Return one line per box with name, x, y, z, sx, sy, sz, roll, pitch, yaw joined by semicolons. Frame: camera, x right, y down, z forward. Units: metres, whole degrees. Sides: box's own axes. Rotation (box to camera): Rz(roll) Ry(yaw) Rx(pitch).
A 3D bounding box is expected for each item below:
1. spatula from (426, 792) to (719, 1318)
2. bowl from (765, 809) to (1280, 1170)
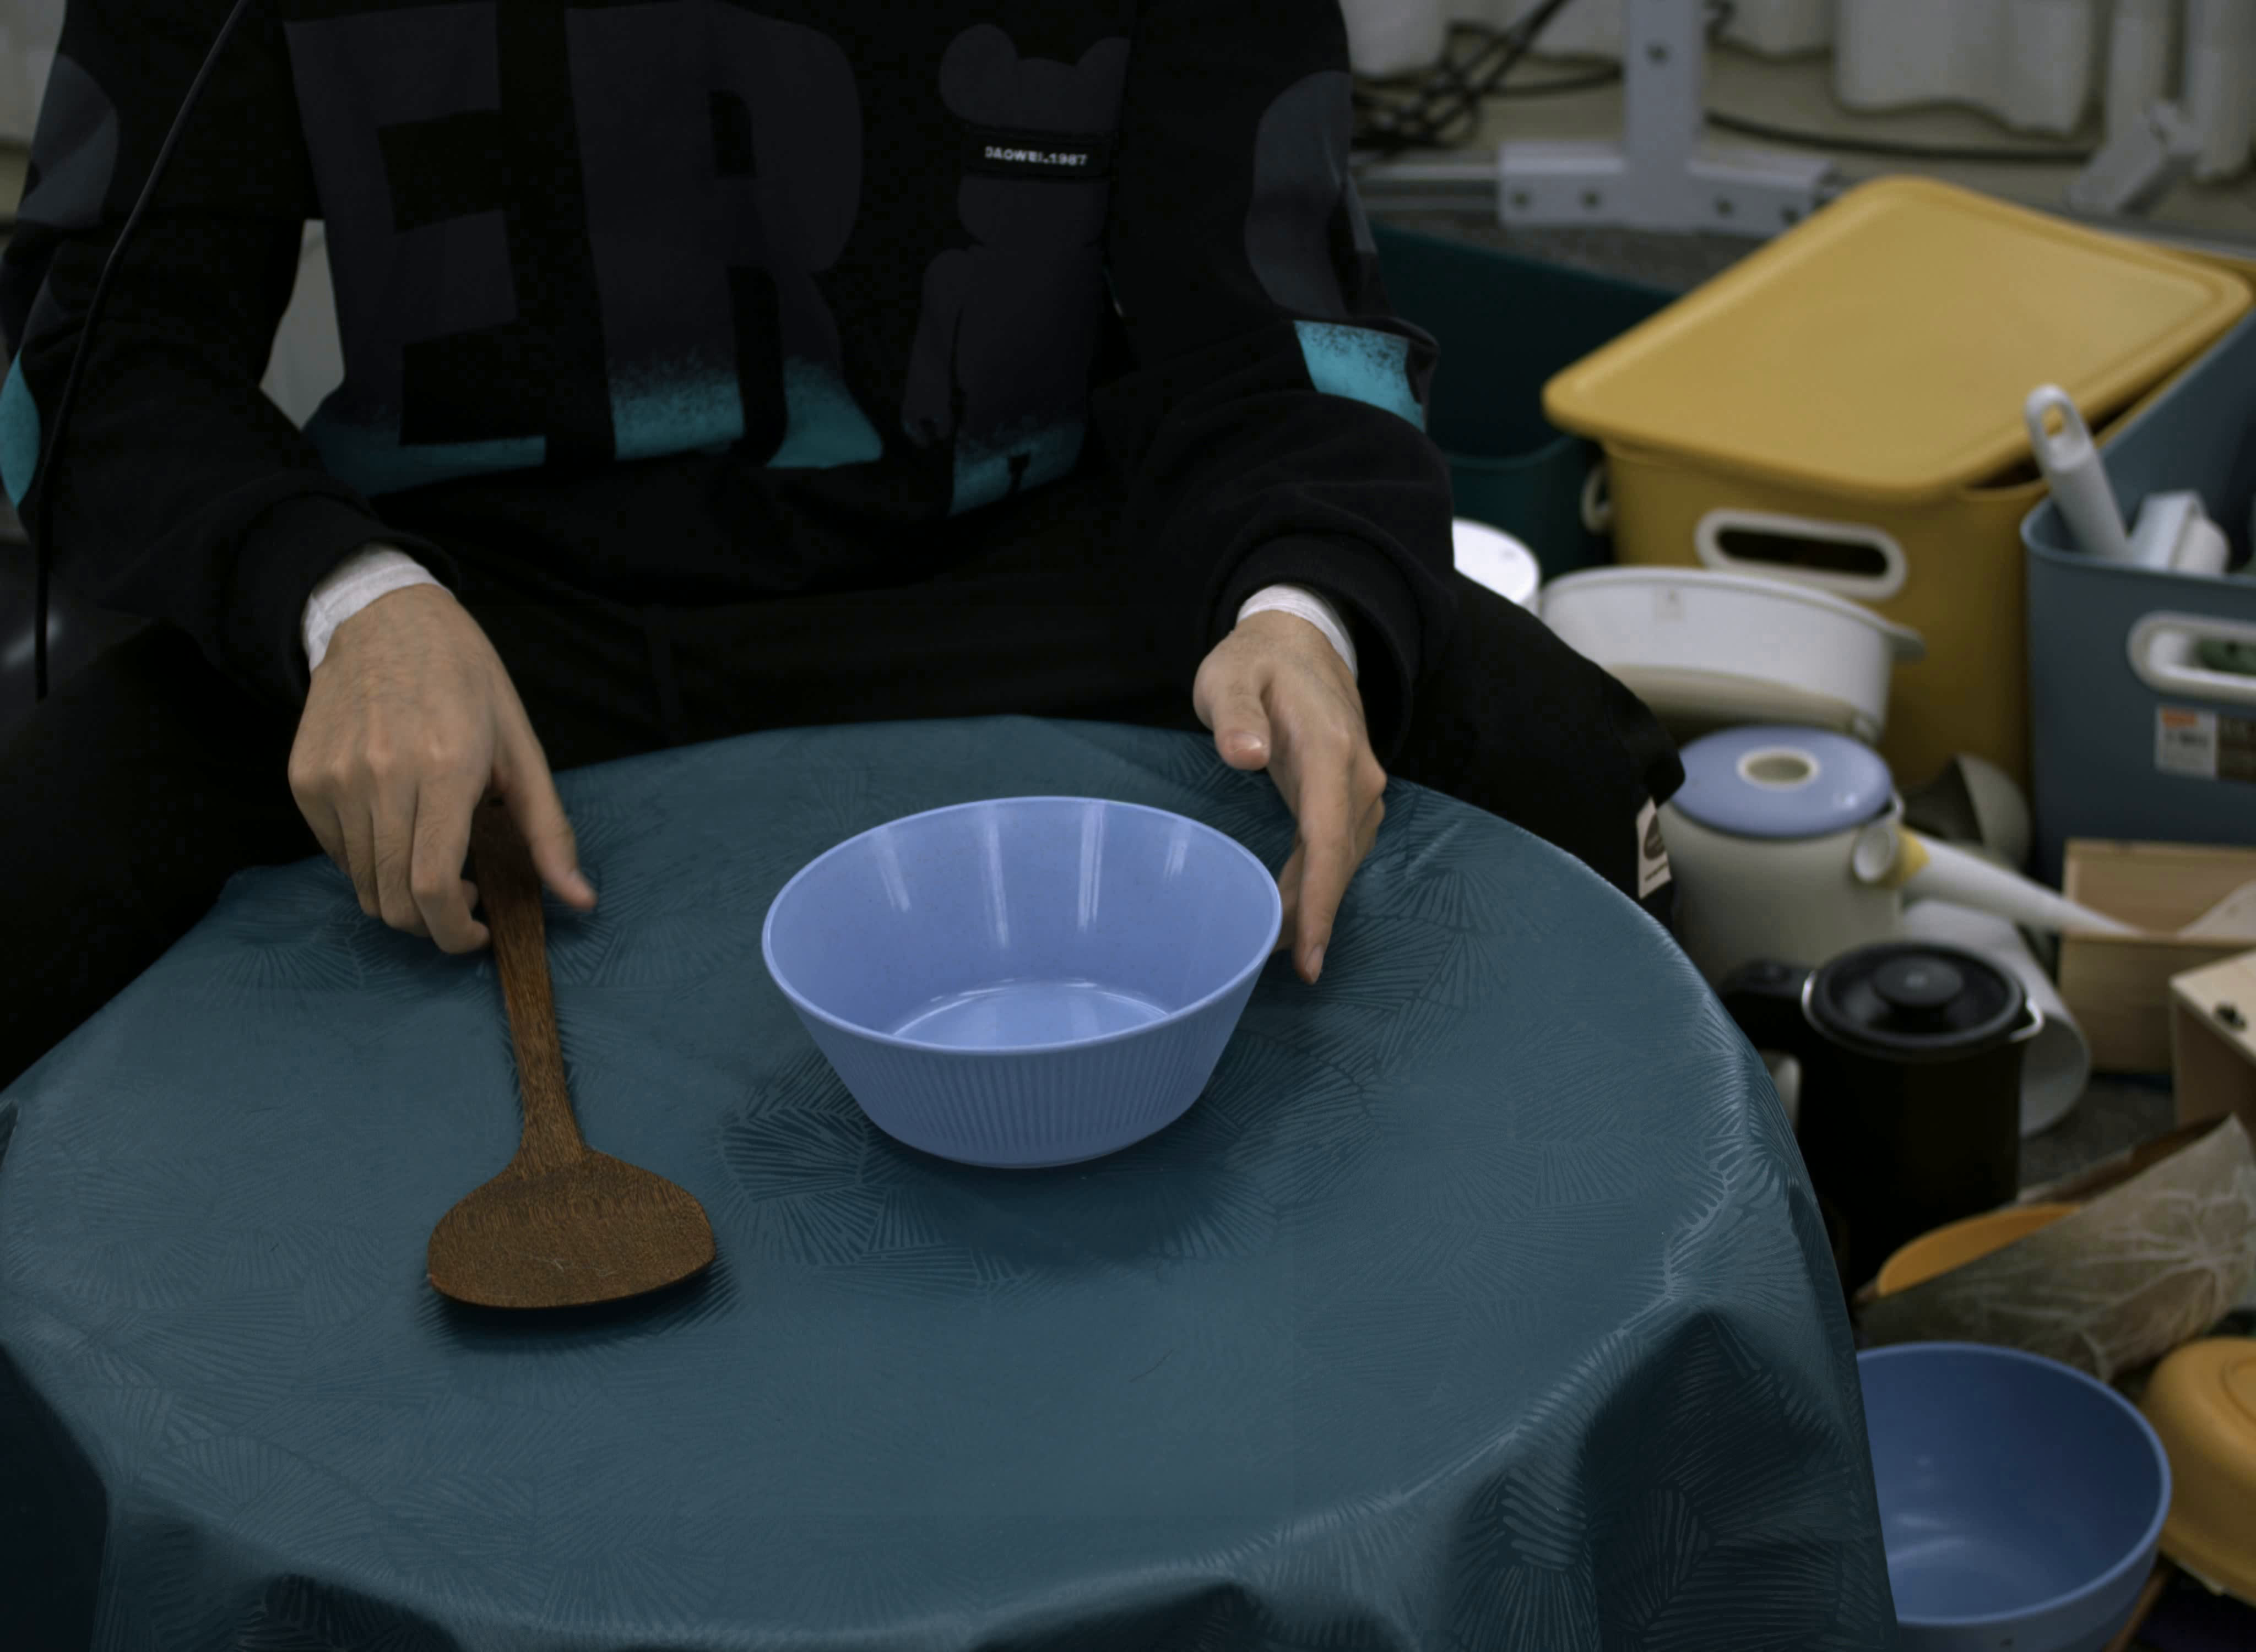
spatula;-0.208;0.072;1.964;0.096;0.015;0.390;-6;27;-8
bowl;-0.034;0.061;1.907;0.175;0.069;0.178;-2;26;1
